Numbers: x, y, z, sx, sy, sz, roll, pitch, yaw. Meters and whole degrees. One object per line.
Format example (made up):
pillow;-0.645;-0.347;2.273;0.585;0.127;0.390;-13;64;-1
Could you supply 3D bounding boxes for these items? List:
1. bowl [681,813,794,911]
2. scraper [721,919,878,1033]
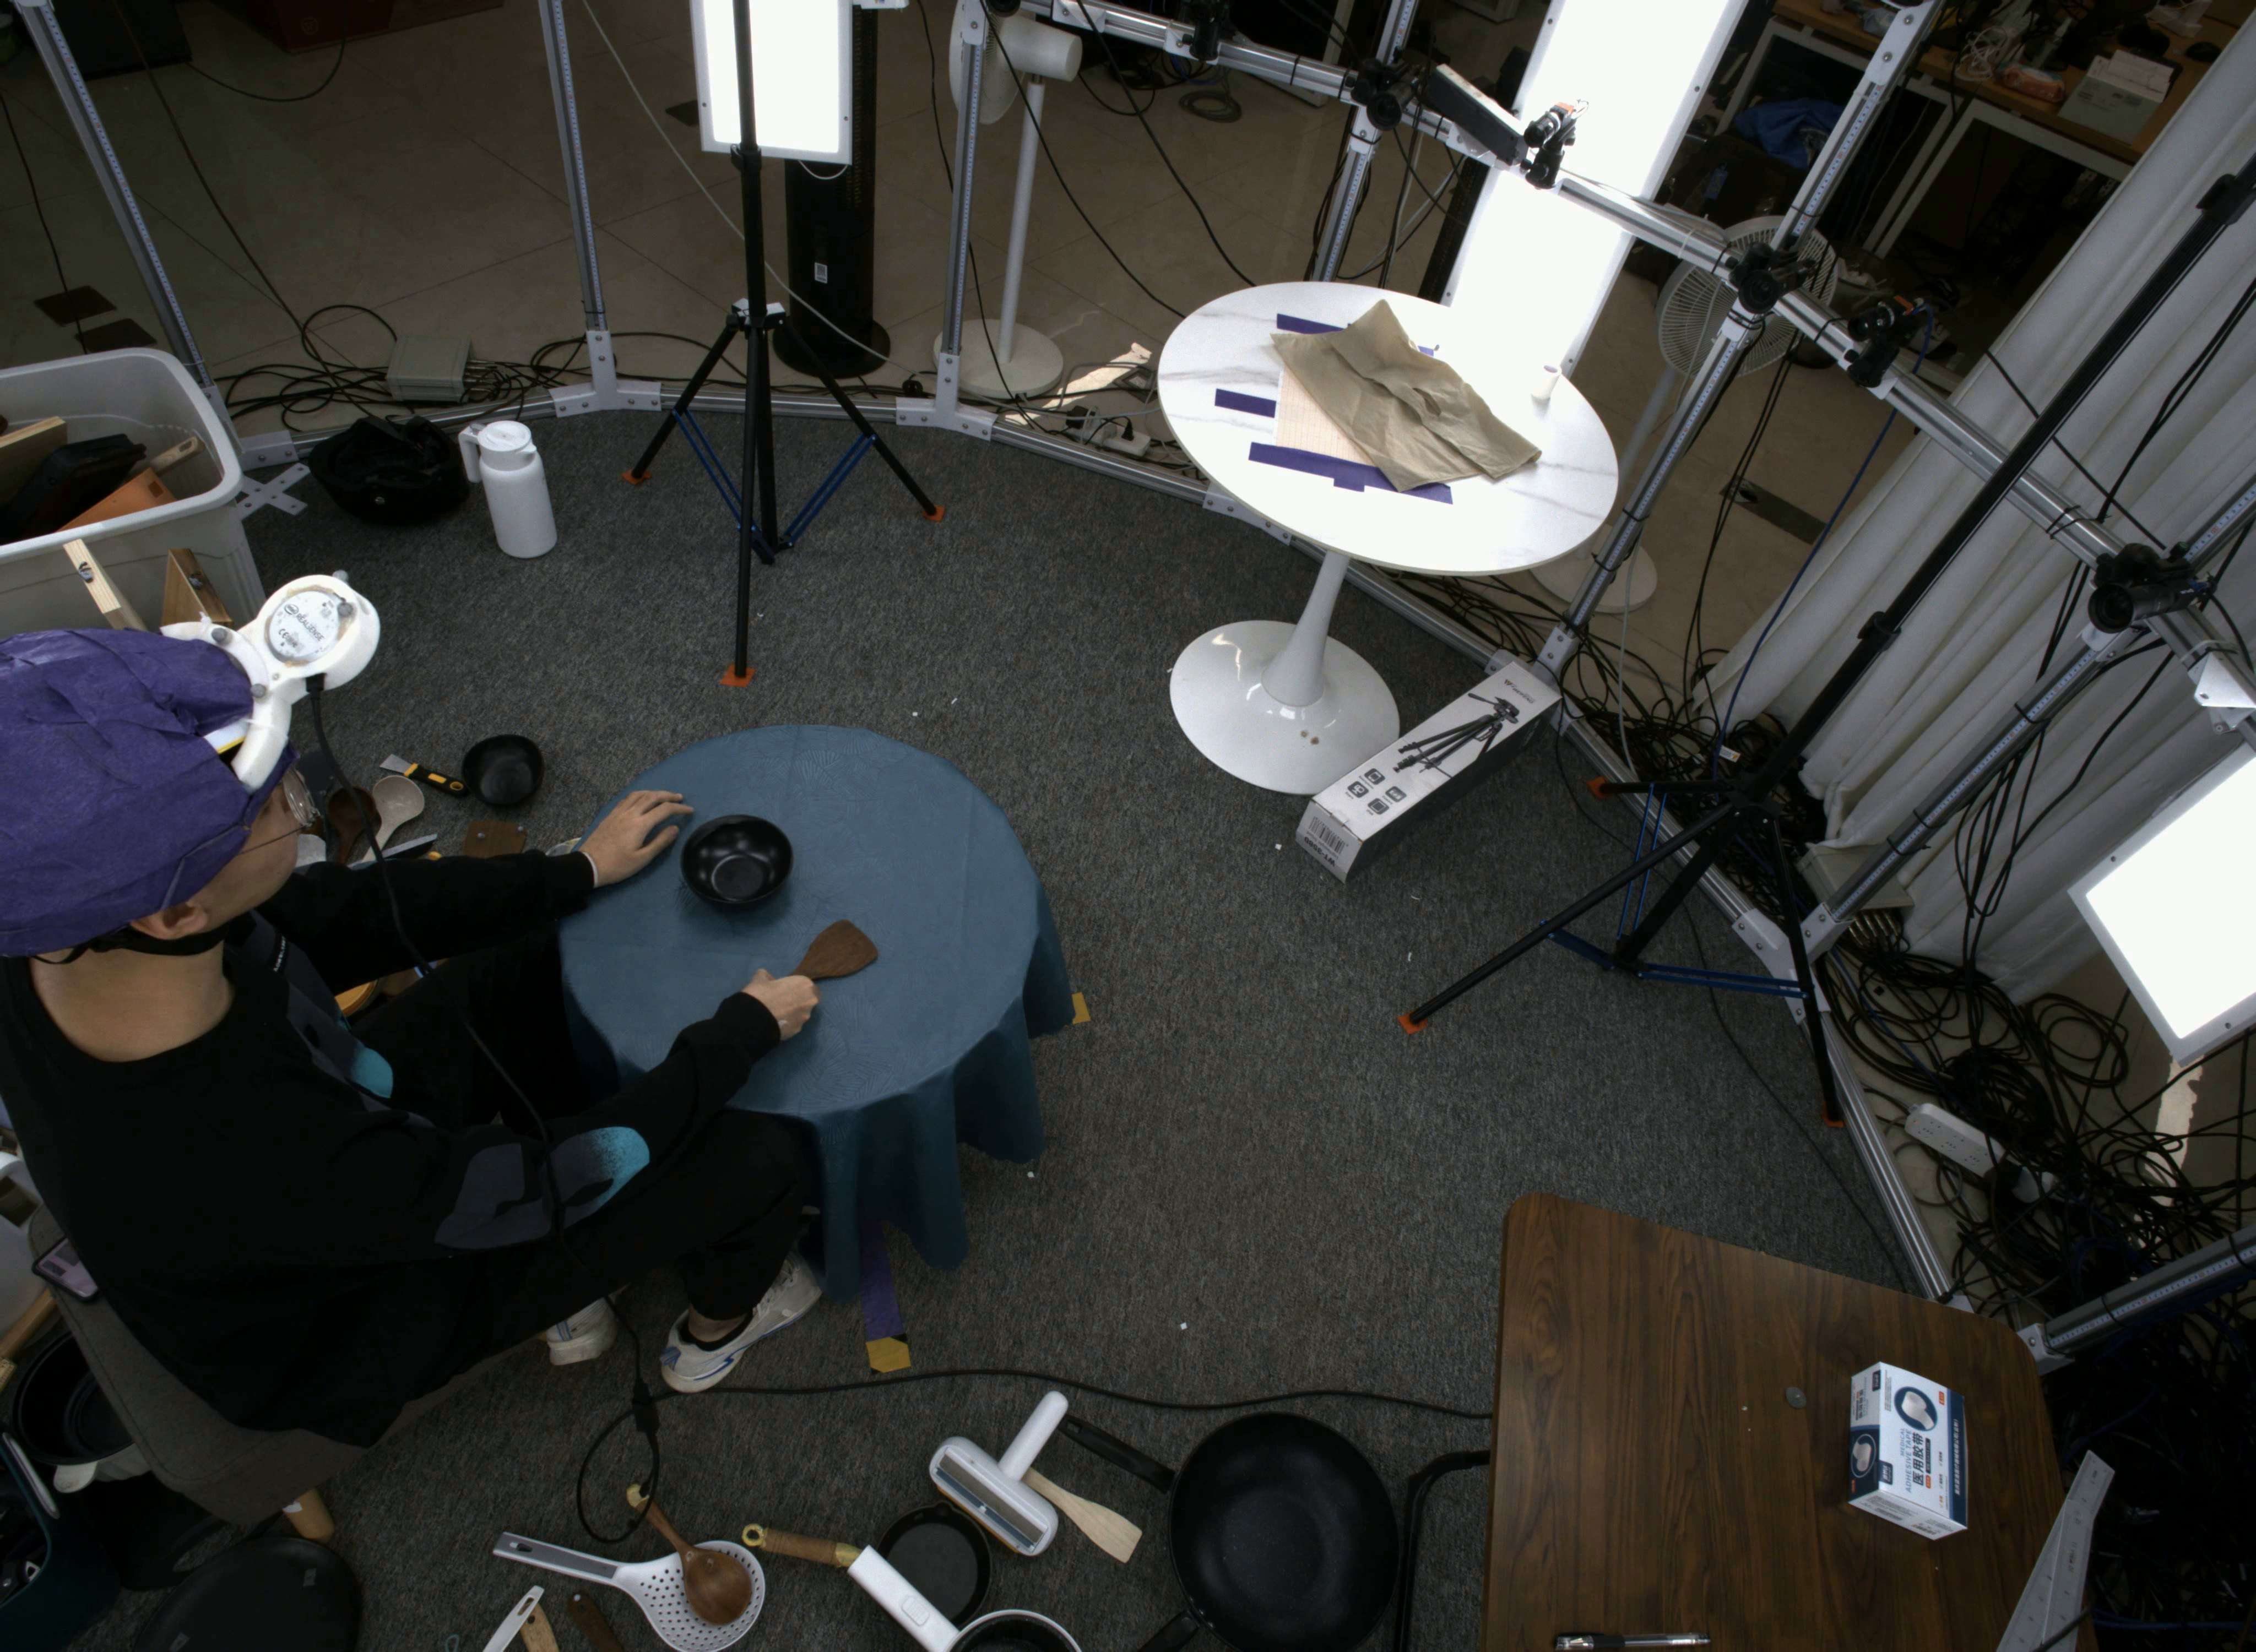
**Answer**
bowl;-0.494;0.052;1.641;0.140;0.050;0.137;8;54;-10
scraper;-0.405;0.186;1.585;0.074;0.011;0.212;42;52;17
